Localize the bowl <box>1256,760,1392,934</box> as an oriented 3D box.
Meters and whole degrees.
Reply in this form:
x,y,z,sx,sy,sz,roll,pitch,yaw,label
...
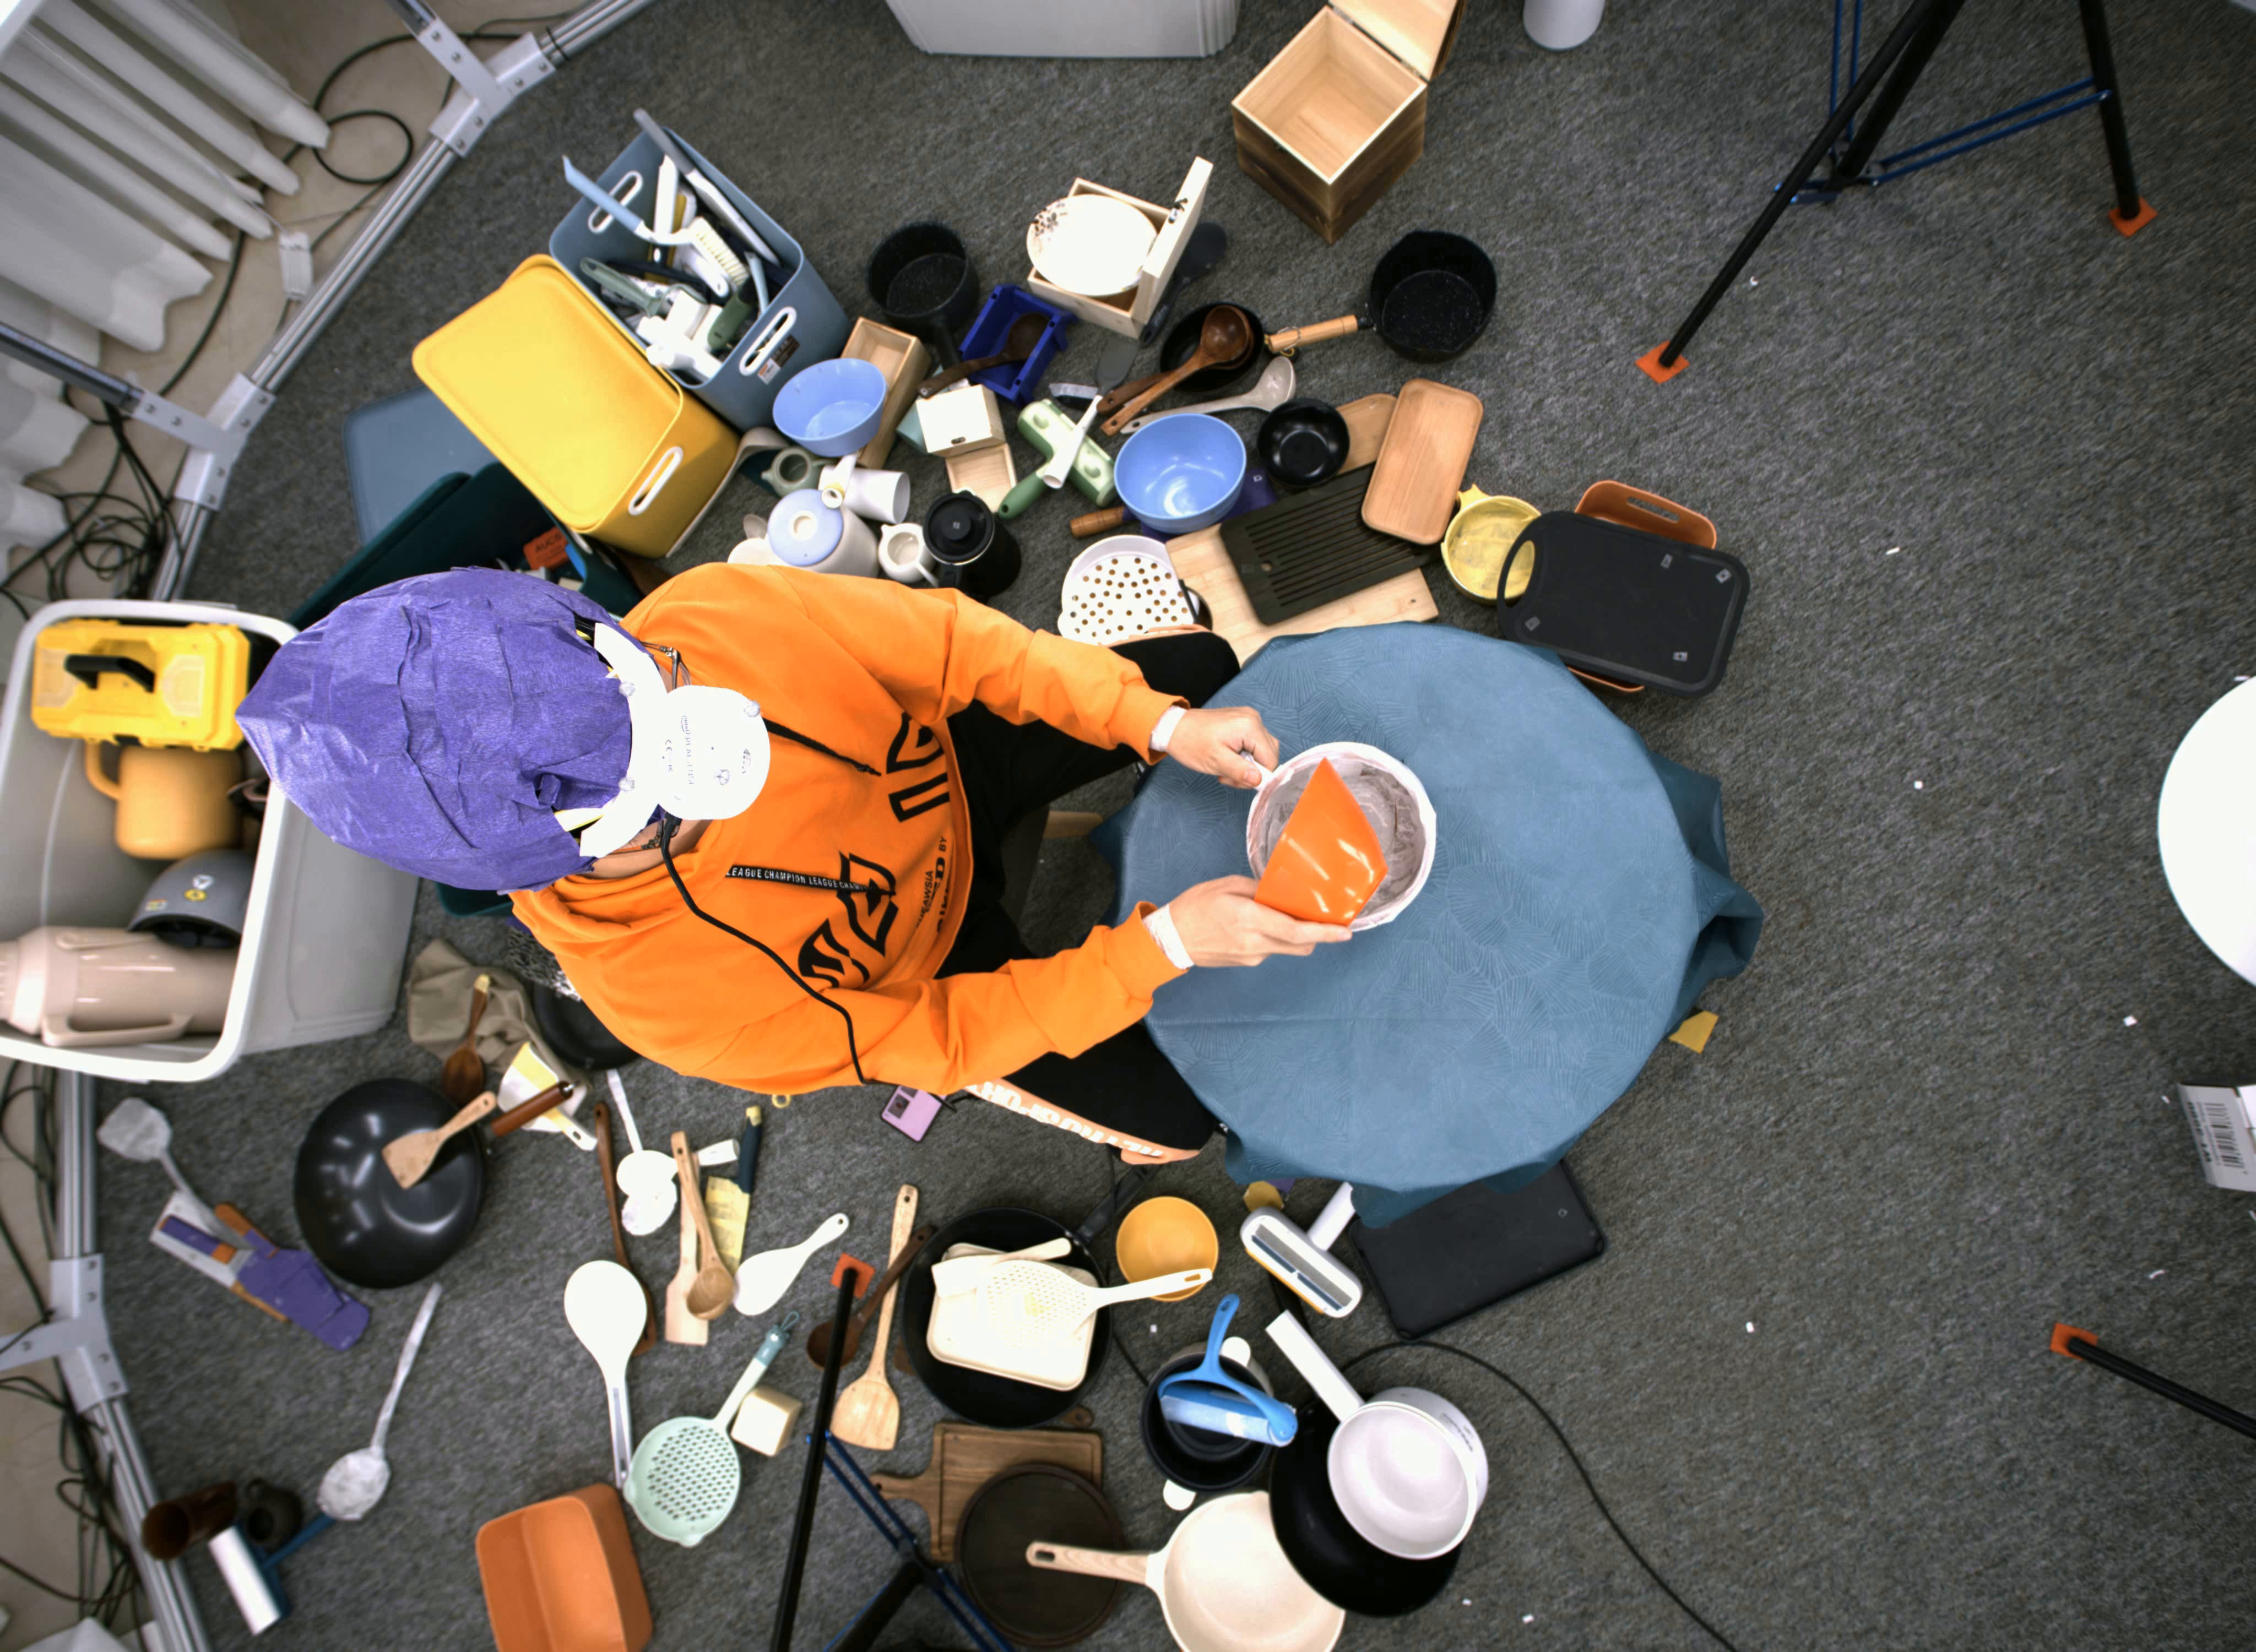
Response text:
x,y,z,sx,sy,sz,roll,pitch,yaw,label
0.181,0.030,1.233,0.104,0.148,0.148,35,91,10,bowl

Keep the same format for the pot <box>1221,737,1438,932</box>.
x,y,z,sx,sy,sz,roll,pitch,yaw,label
0.189,-0.009,1.356,0.233,0.135,0.180,34,102,6,pot
